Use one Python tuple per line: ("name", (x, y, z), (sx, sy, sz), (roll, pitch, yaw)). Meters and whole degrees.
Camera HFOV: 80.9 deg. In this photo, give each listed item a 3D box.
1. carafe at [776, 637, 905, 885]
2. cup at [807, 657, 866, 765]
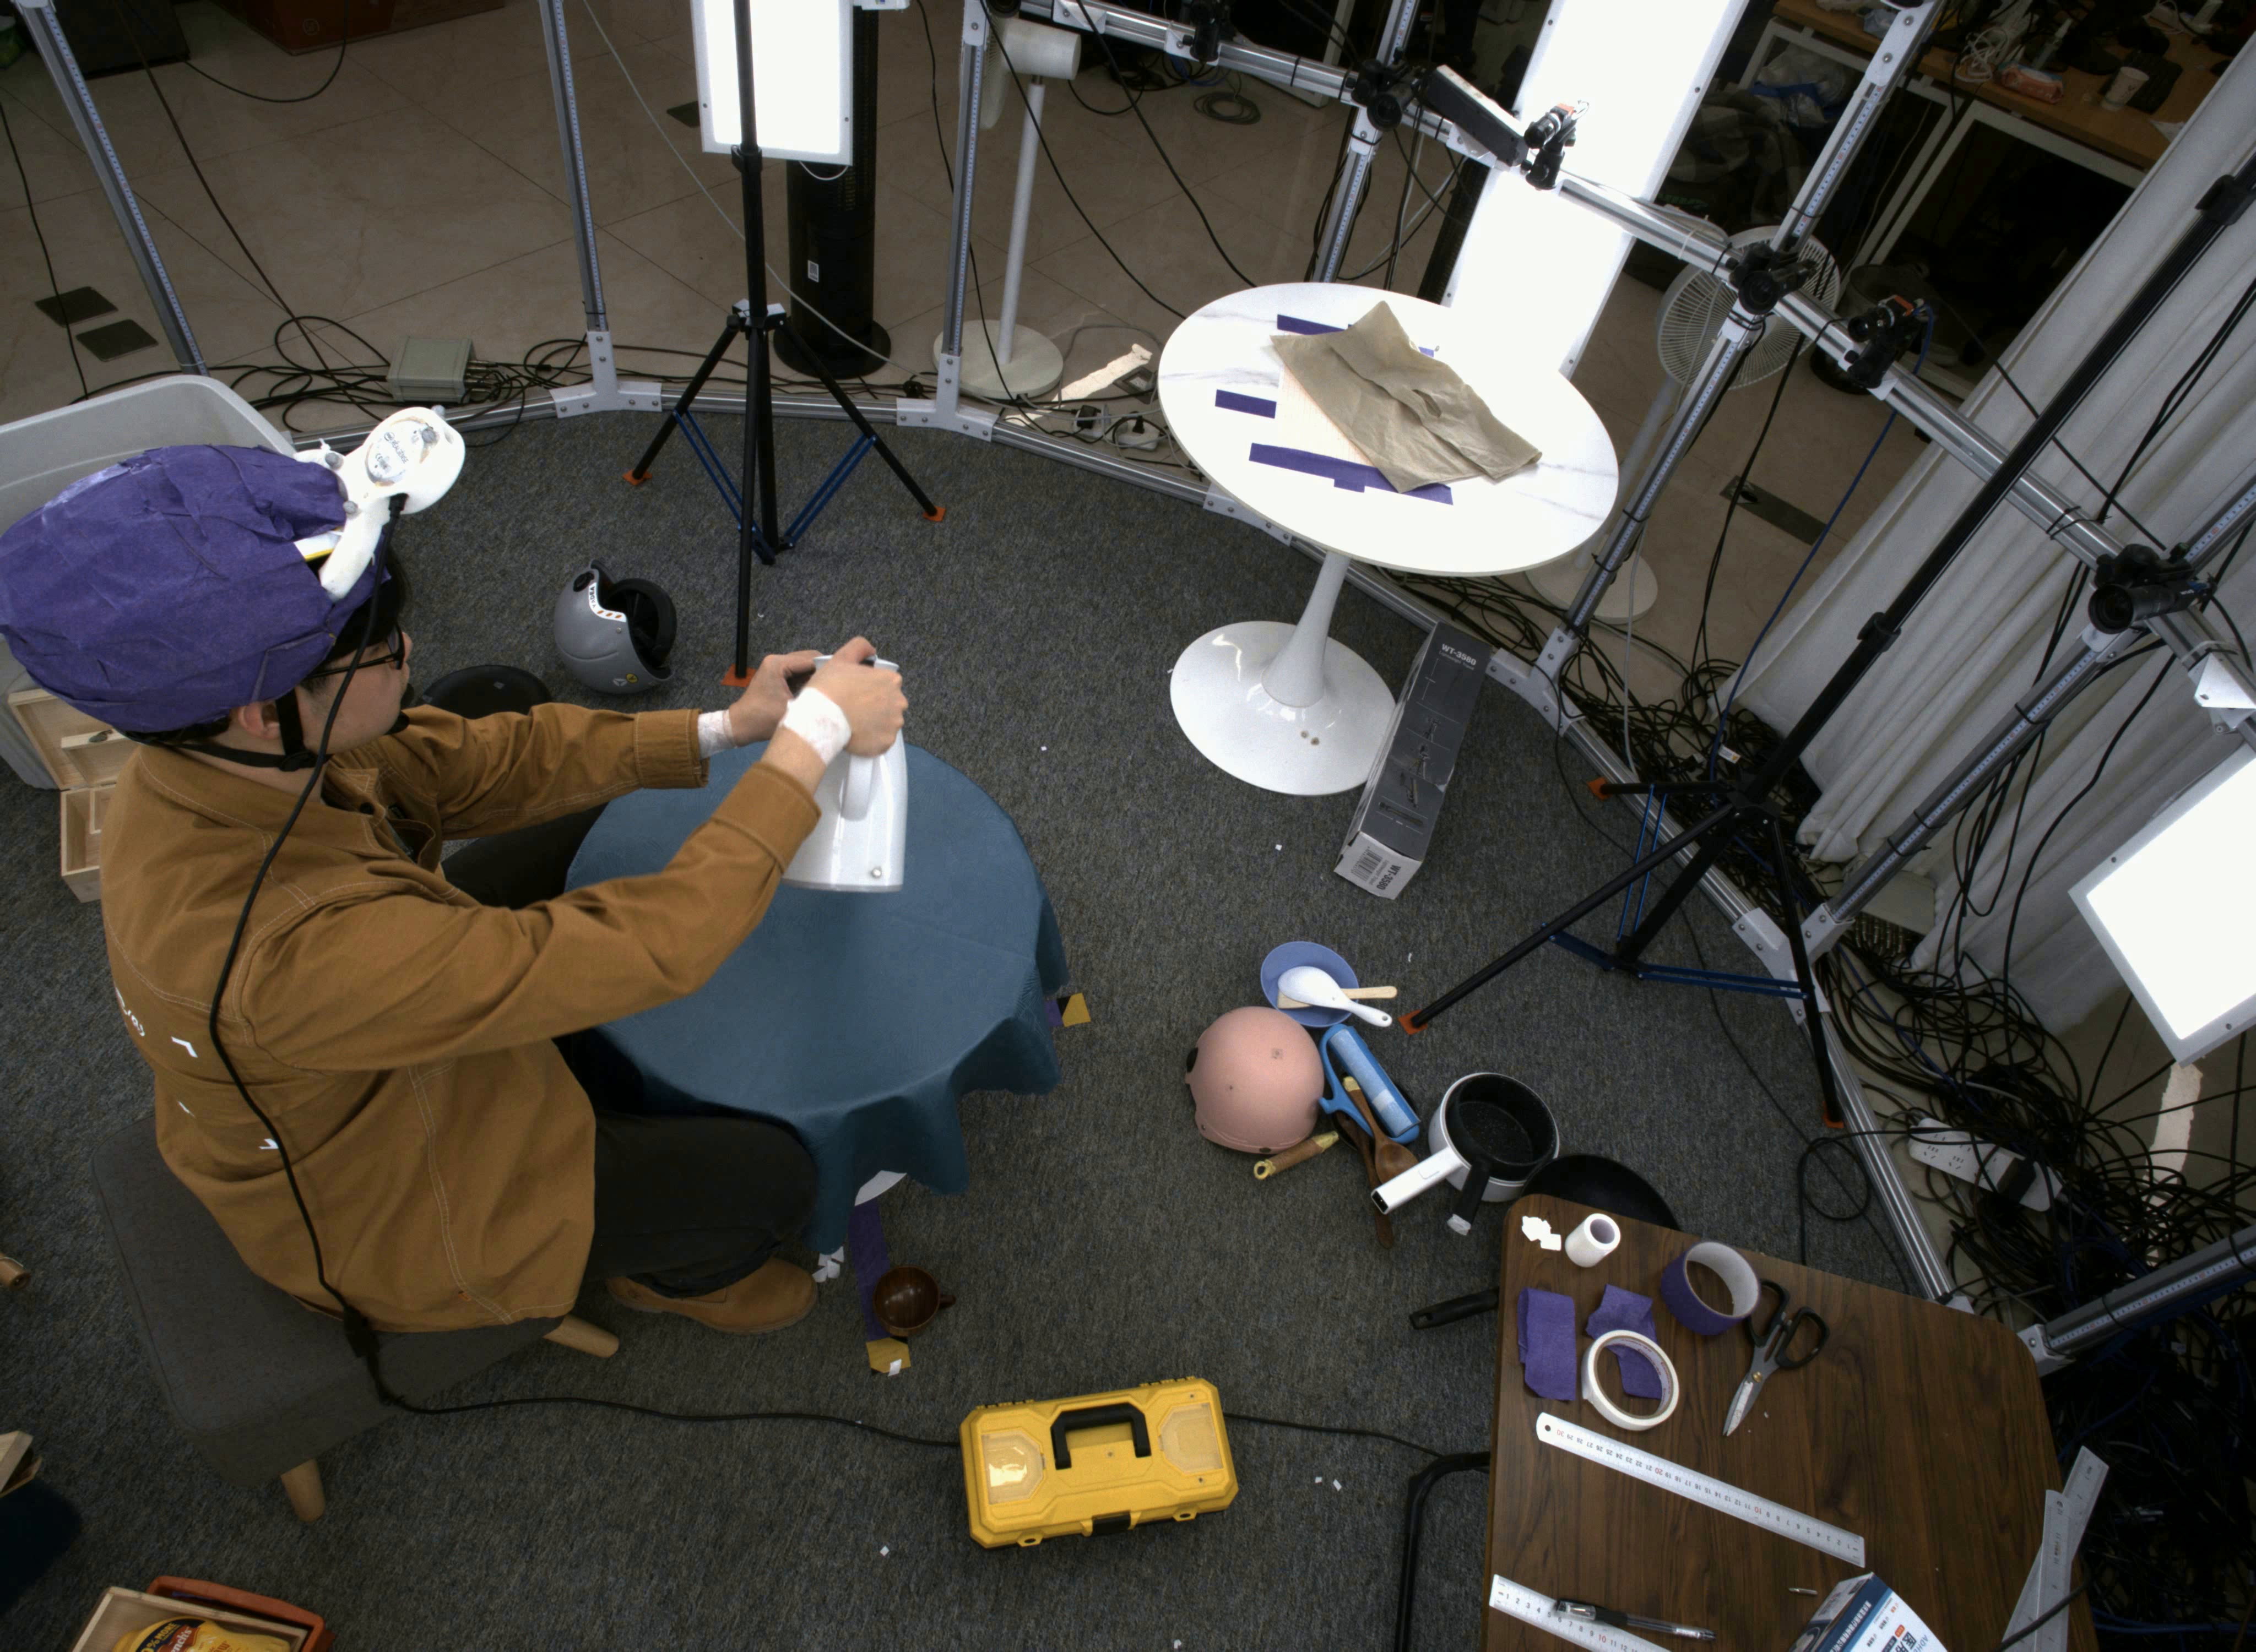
("carafe", (-0.293, -0.067, 1.355), (0.134, 0.164, 0.252), (3, 92, -20))
("cup", (-0.346, -0.134, 1.540), (0.066, 0.134, 0.066), (5, 61, -8))
